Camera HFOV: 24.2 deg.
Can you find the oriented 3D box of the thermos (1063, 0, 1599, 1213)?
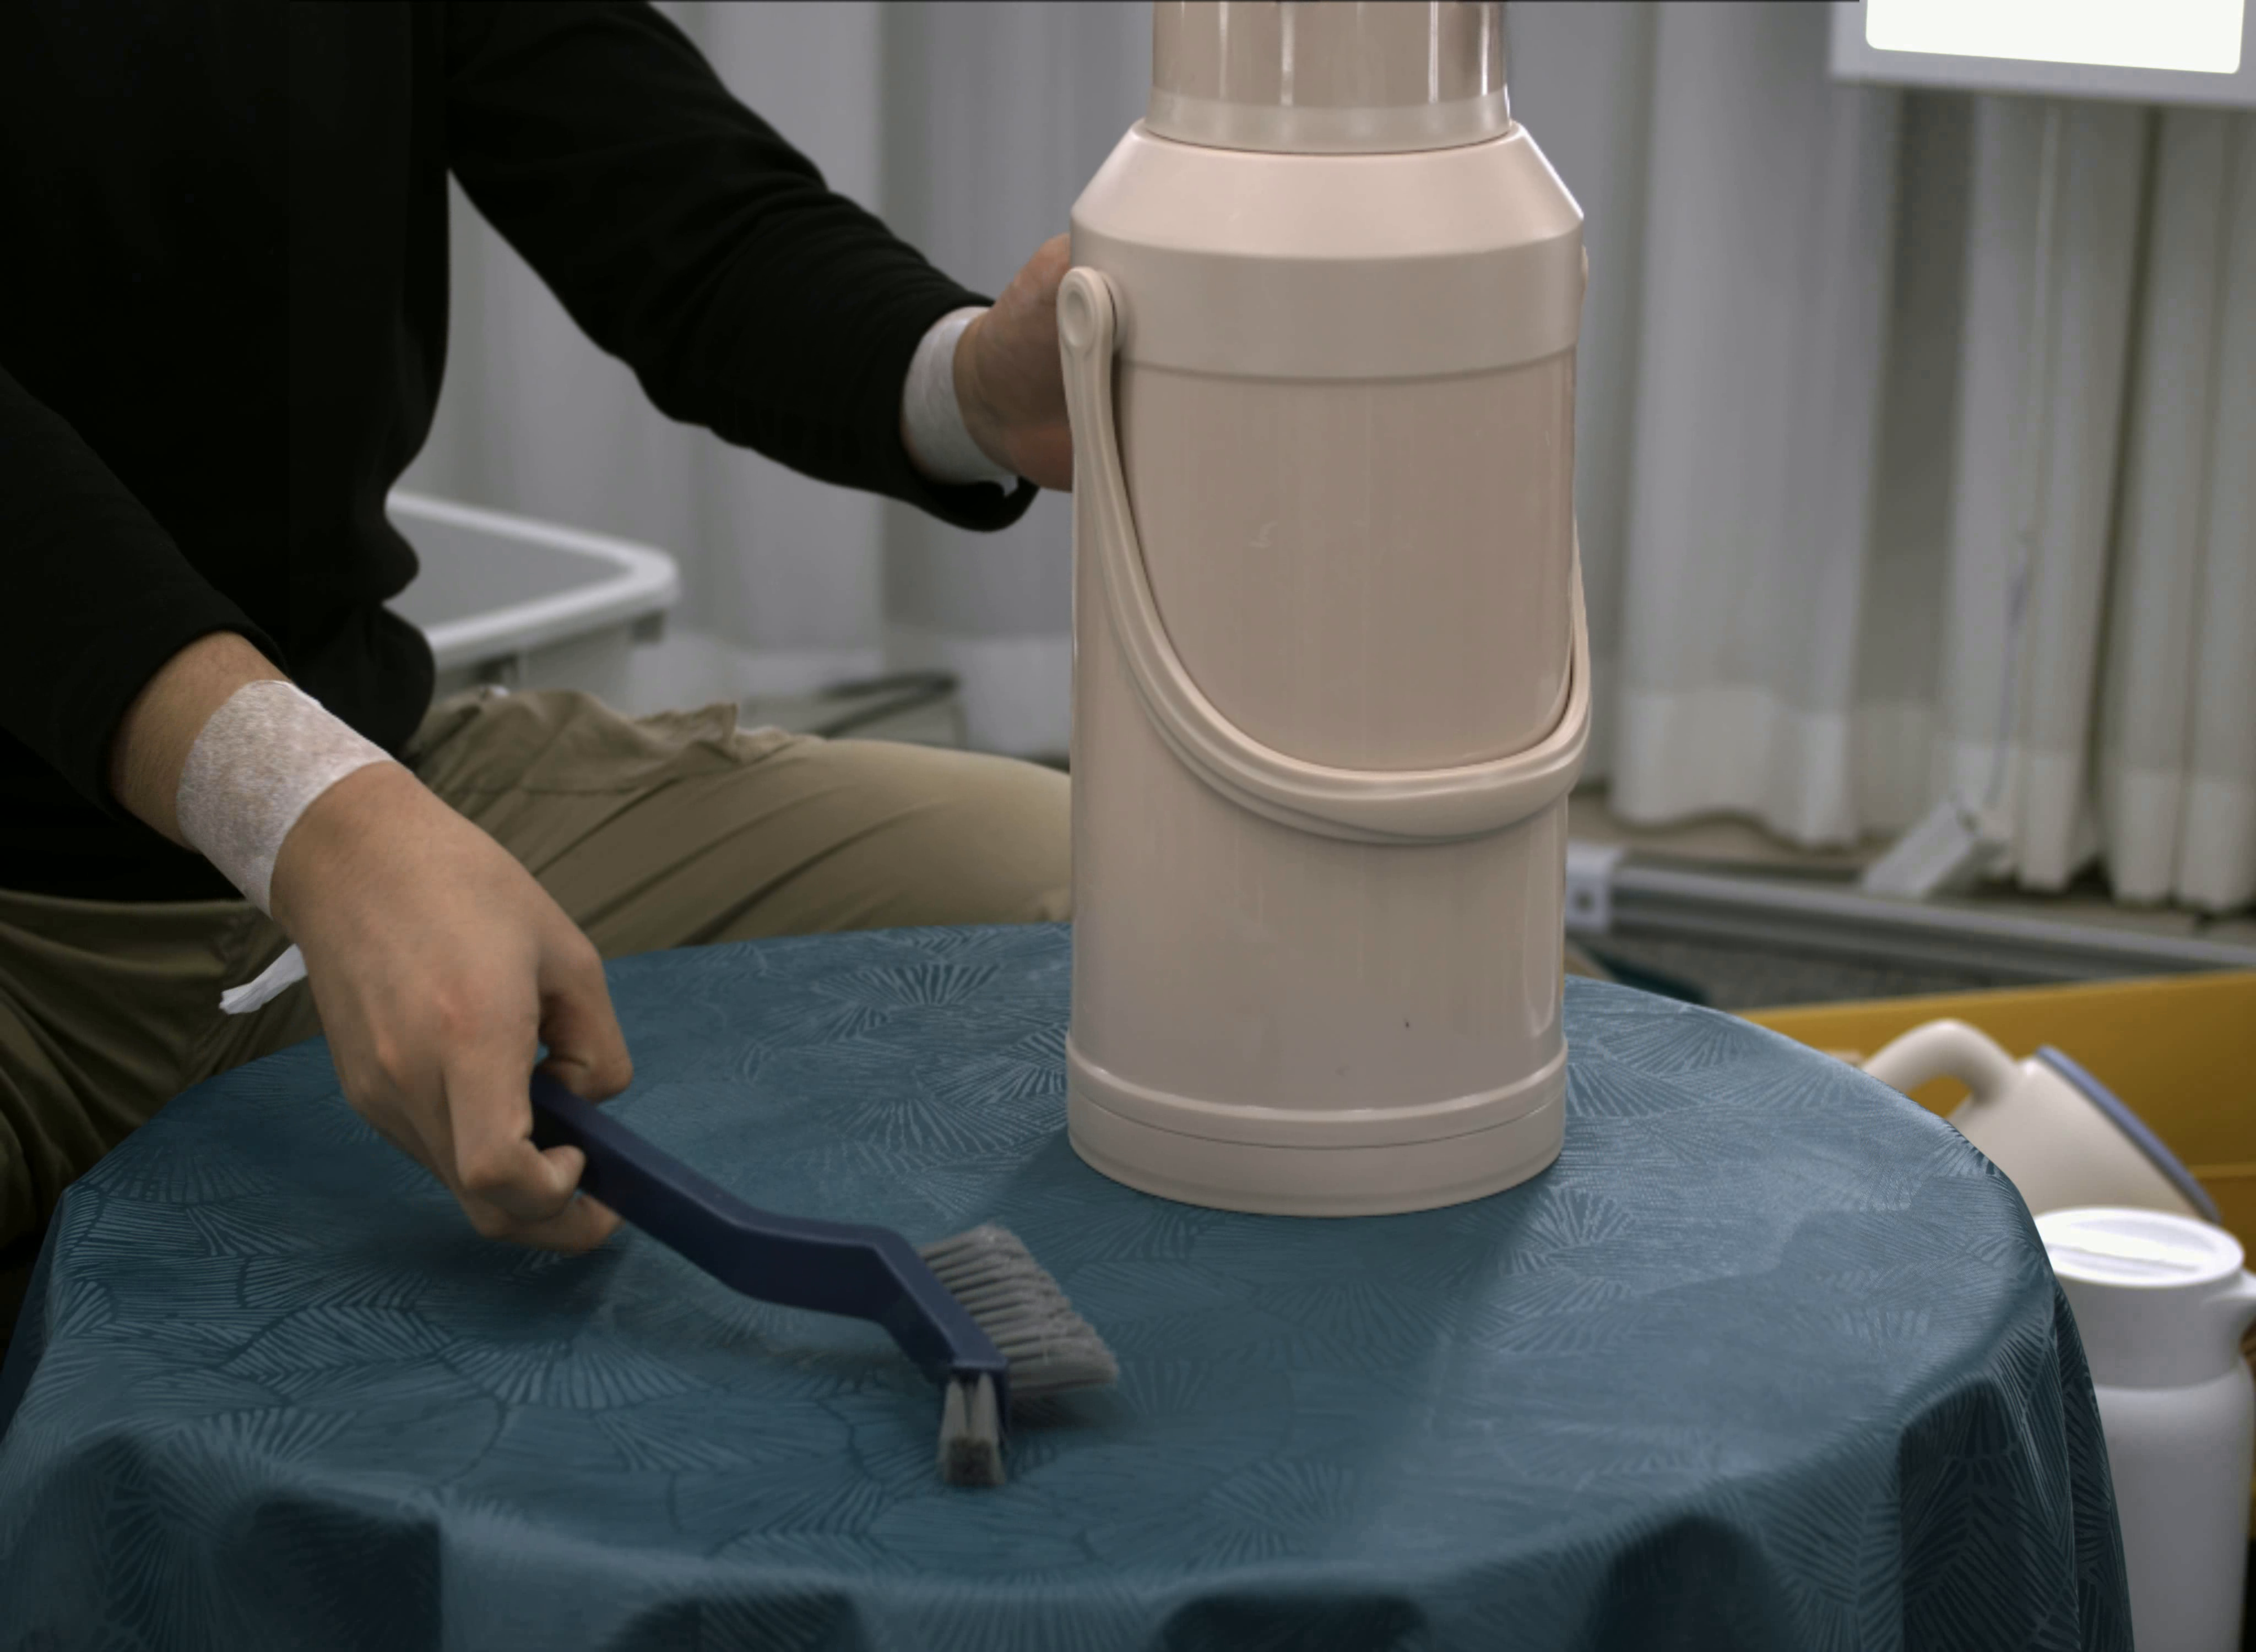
[{"bbox_3d":[0.056,-0.097,1.631,0.176,0.410,0.204,-11,20,-29],"label":"thermos"}]

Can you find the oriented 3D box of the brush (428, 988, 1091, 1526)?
[{"bbox_3d":[-0.123,0.116,1.489,0.269,0.034,0.096,22,38,33],"label":"brush"}]
